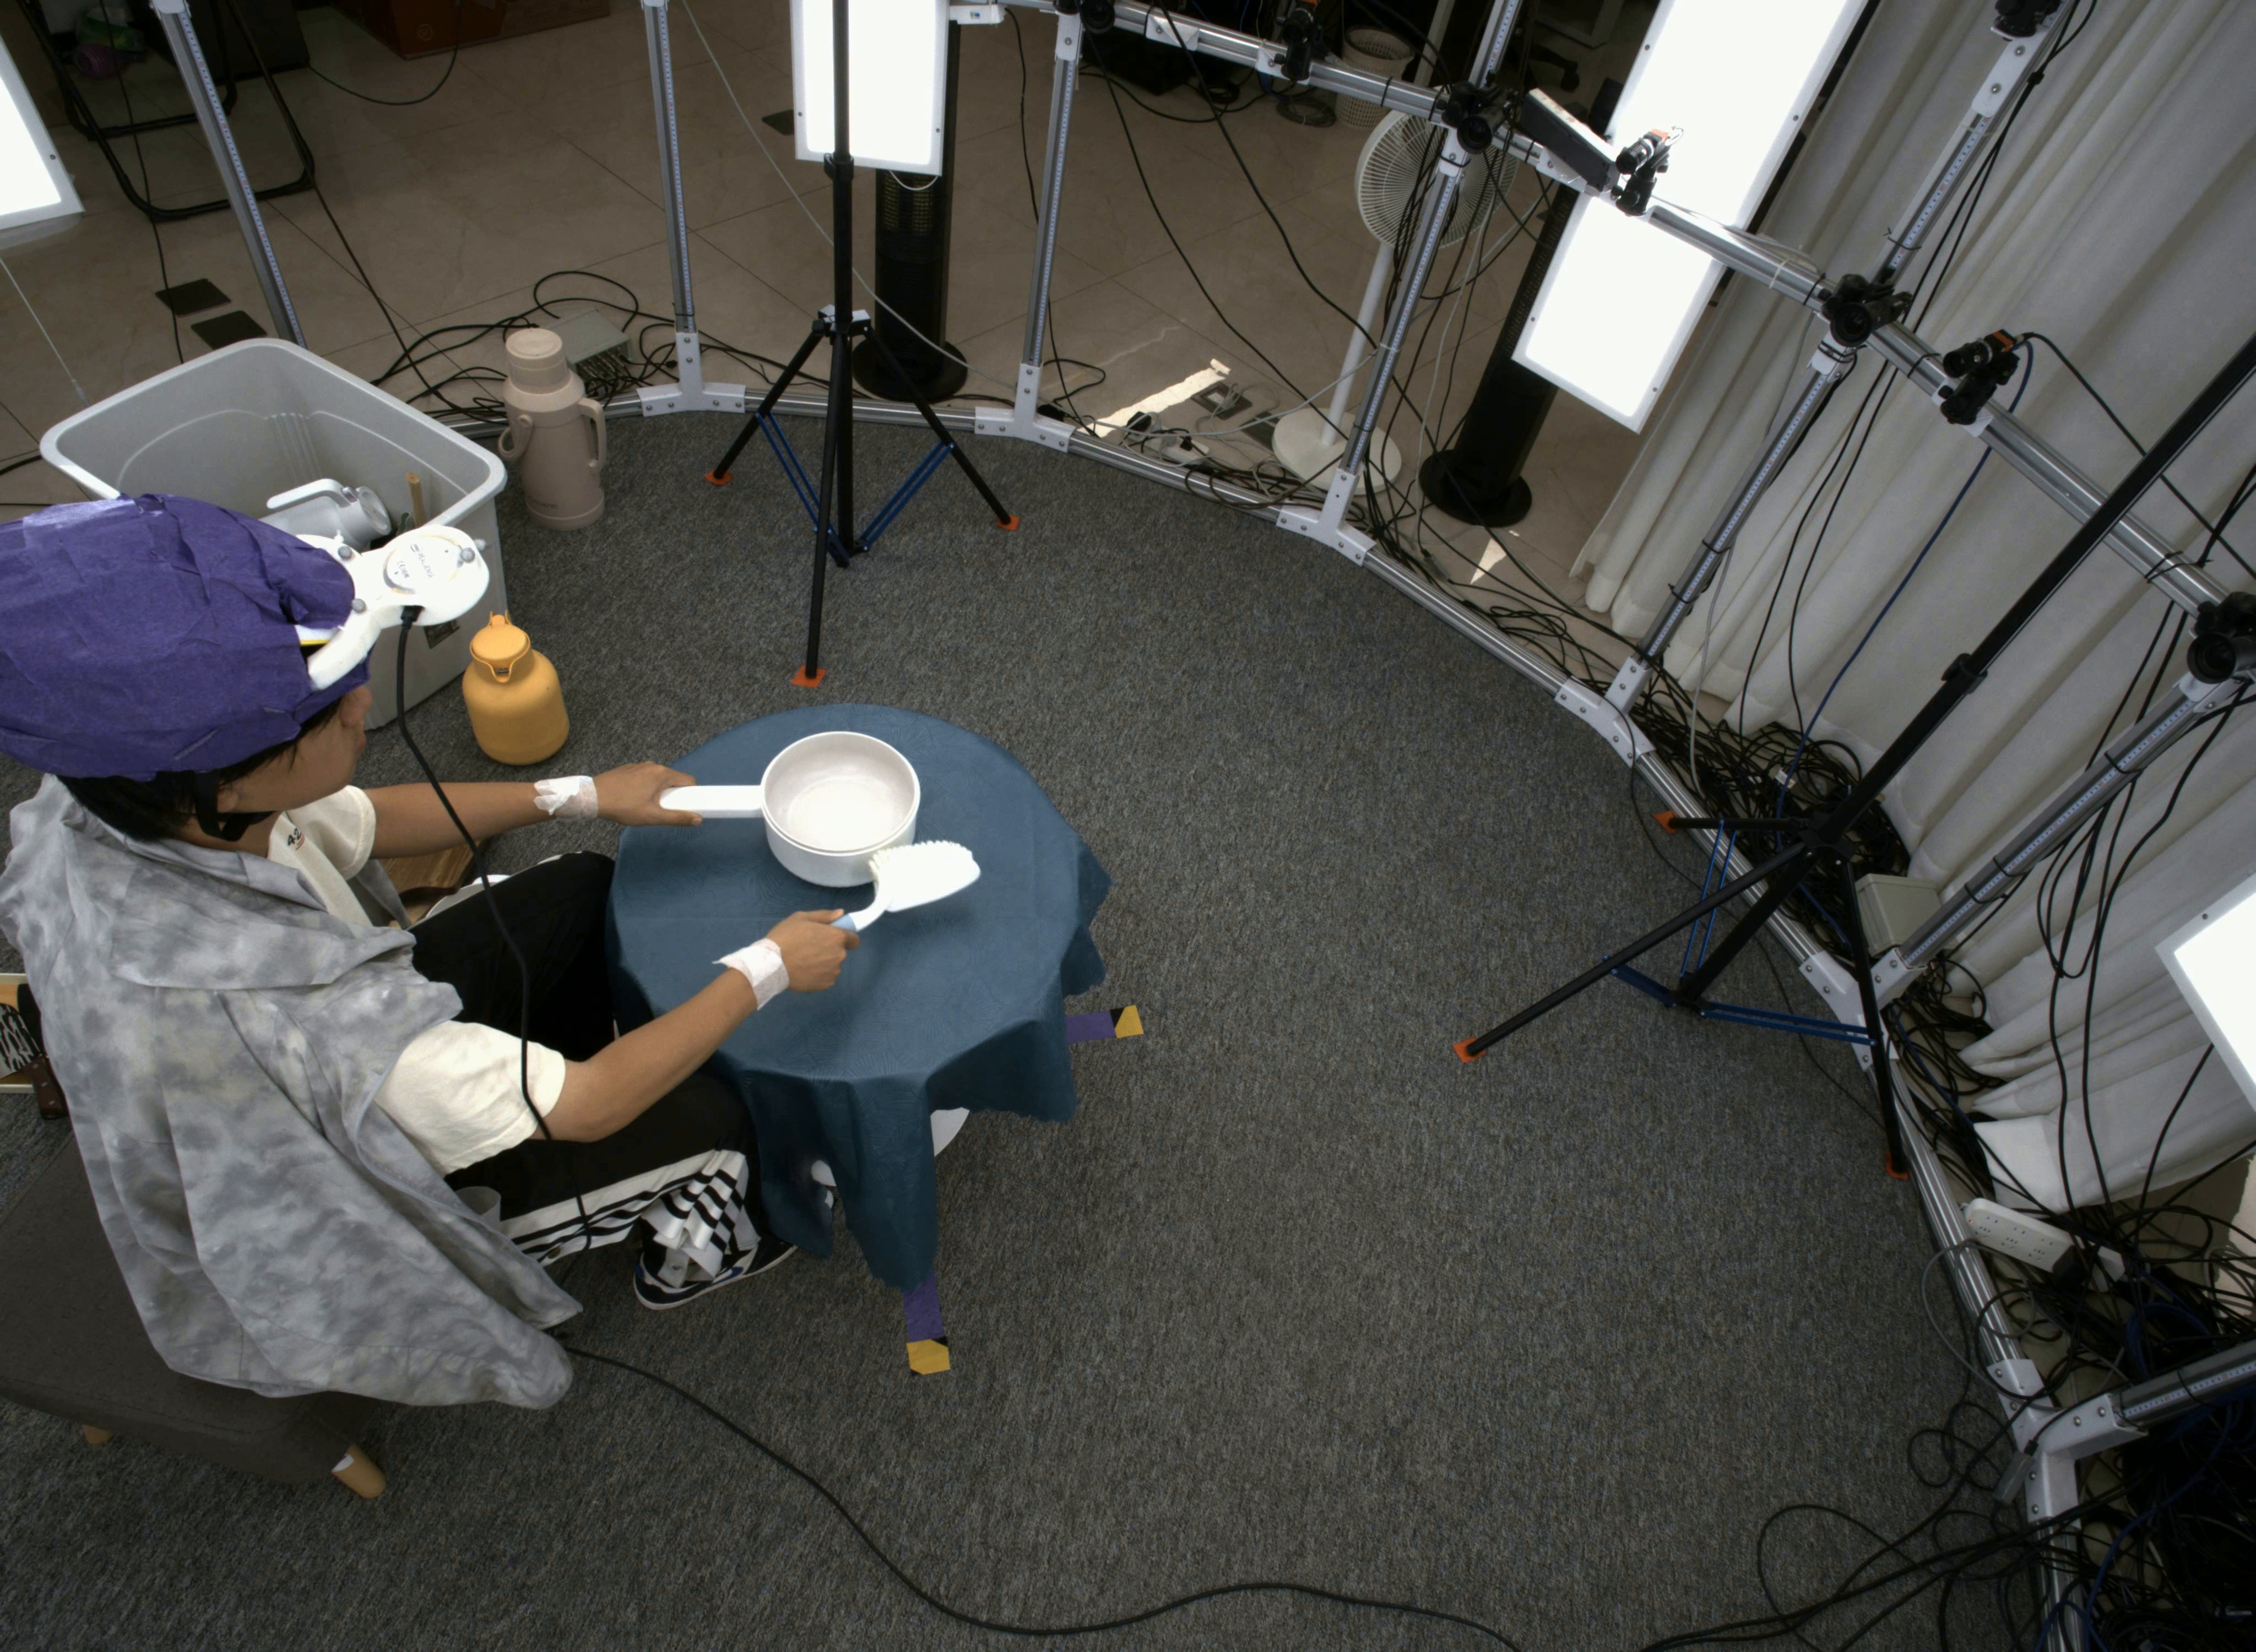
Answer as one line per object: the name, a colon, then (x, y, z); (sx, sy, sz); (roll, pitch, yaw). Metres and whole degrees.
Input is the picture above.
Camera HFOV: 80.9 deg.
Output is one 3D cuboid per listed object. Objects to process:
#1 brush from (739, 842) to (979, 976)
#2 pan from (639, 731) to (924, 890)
brush: (-0.332, 0.088, 1.576); (0.327, 0.083, 0.084); (-23, 94, -32)
pan: (-0.442, -0.014, 1.668); (0.355, 0.104, 0.197); (-2, 54, -14)
